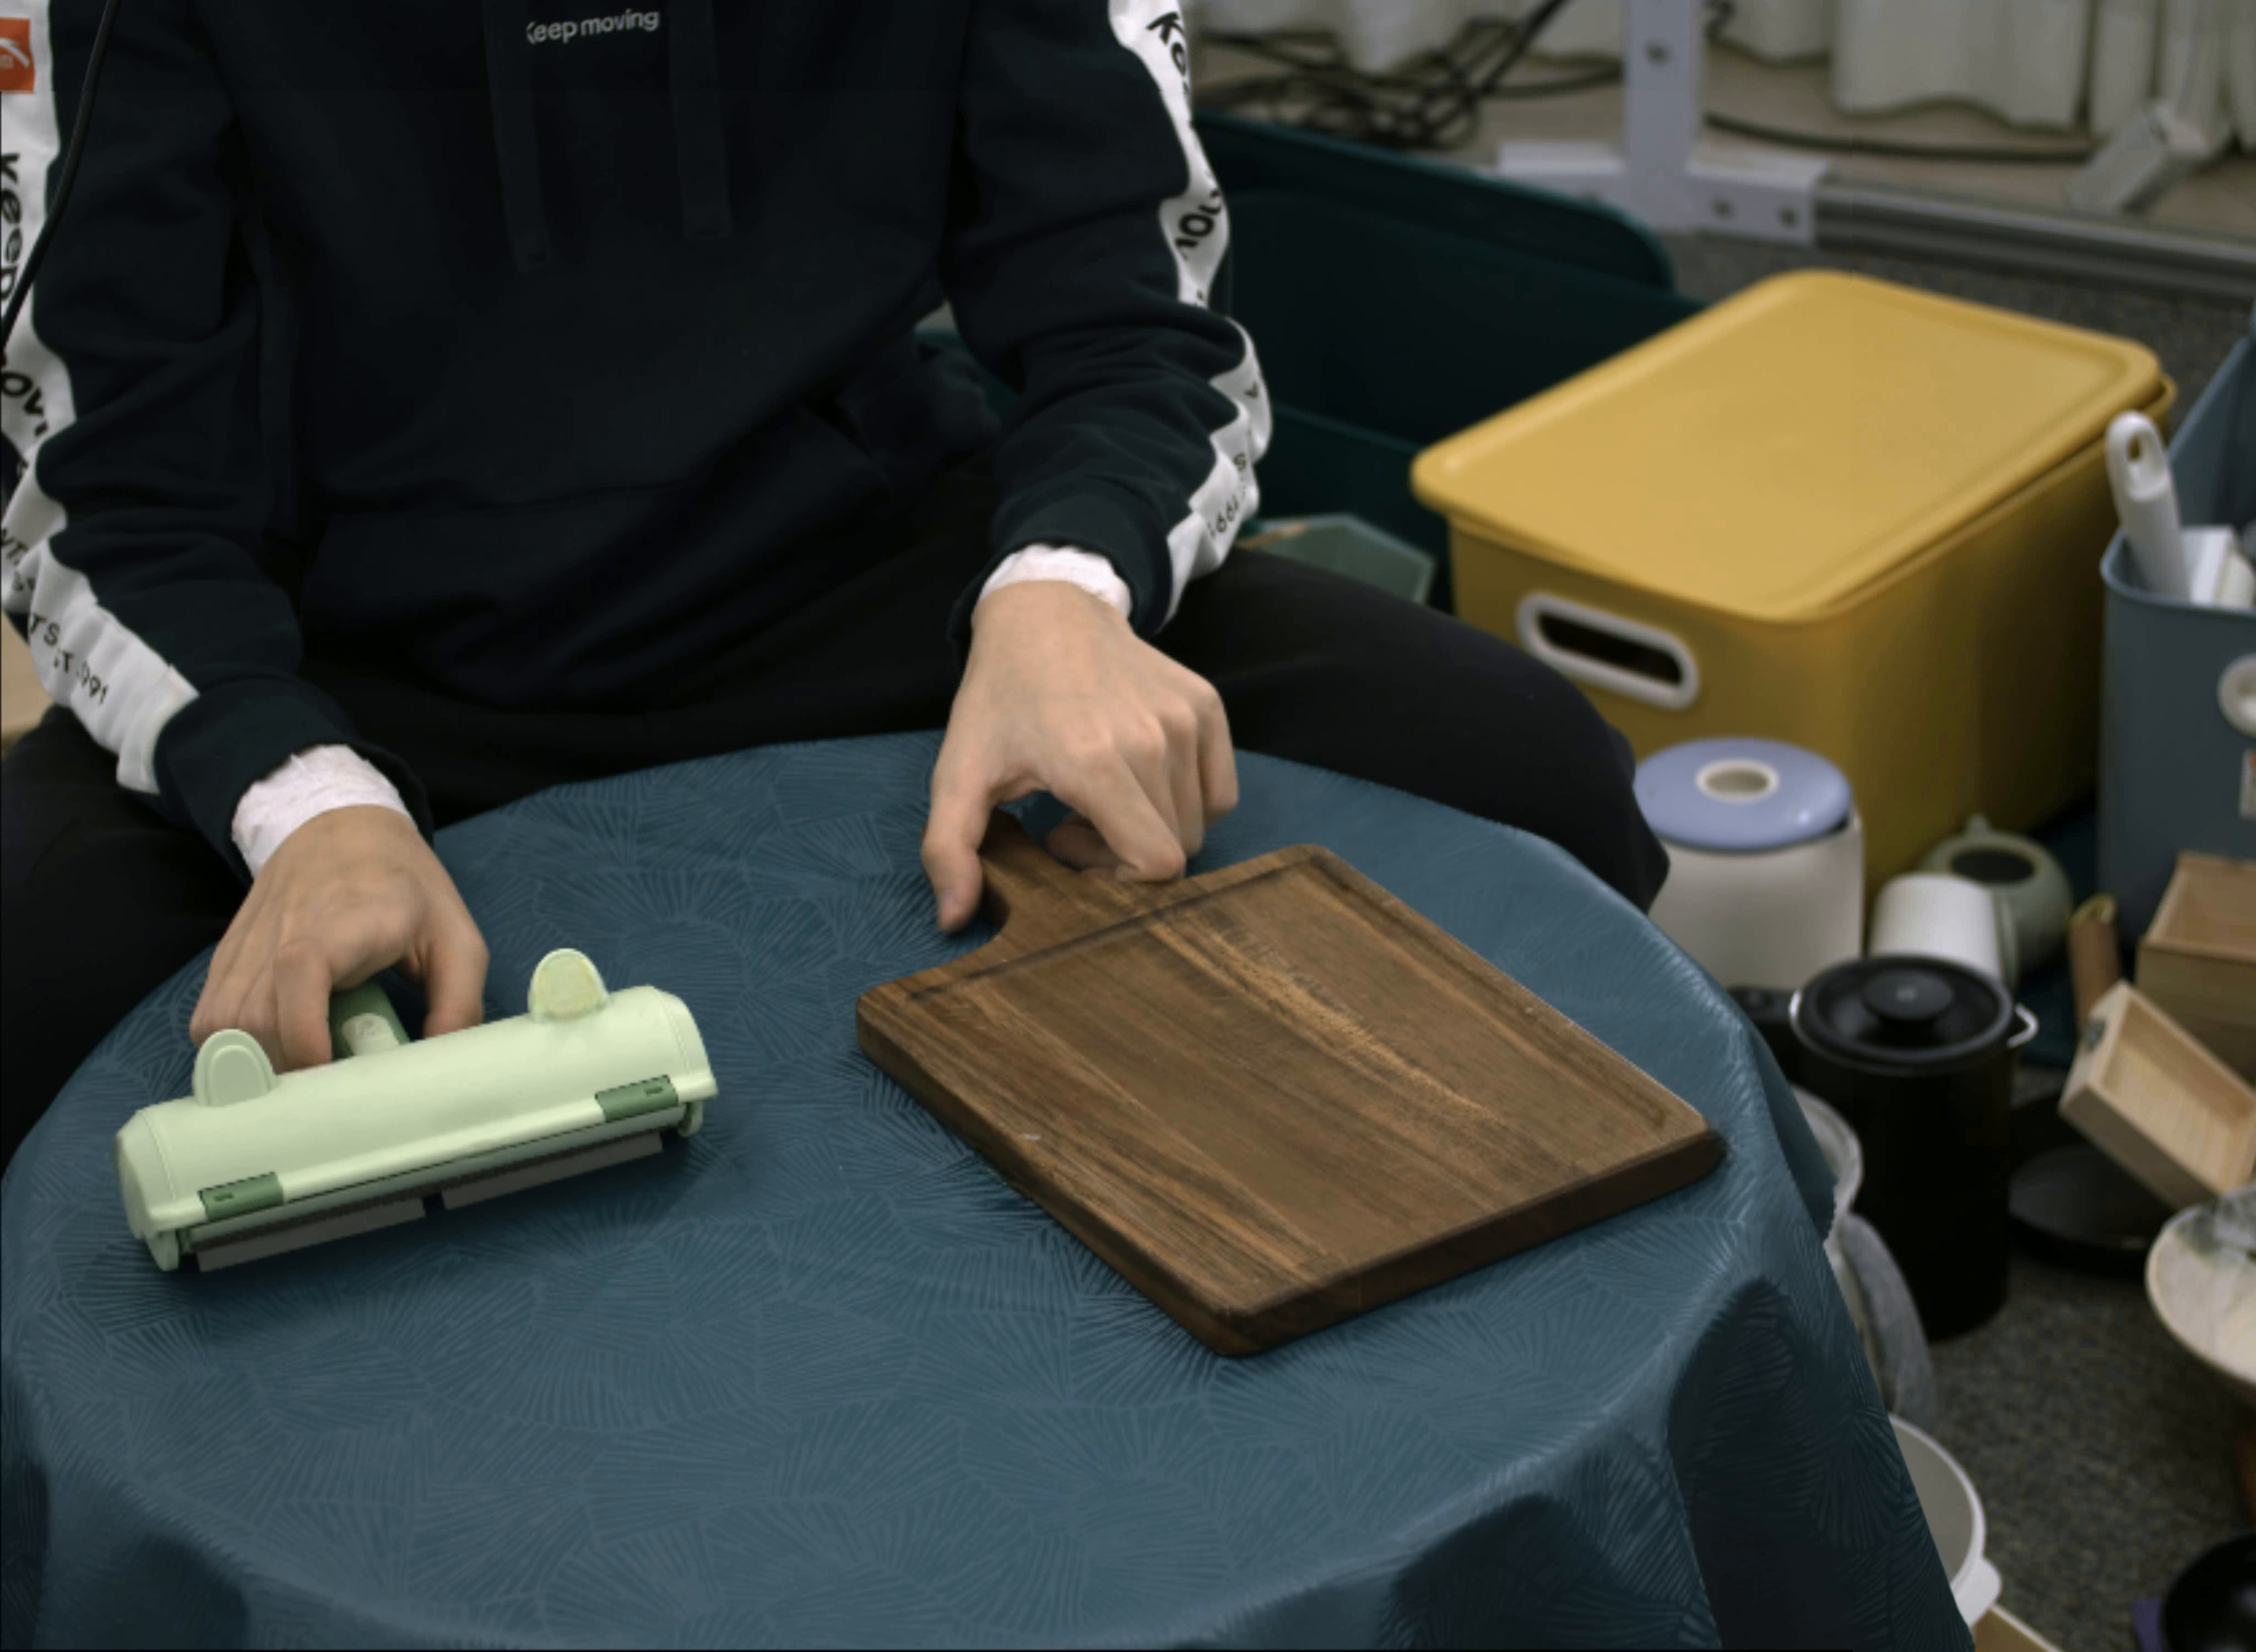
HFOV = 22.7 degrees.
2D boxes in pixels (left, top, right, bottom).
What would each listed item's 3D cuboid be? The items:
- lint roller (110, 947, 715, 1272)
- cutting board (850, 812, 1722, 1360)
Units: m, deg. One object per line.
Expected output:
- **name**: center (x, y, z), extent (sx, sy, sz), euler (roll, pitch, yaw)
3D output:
- **lint roller**: center (-0.259, 0.068, 1.906), extent (0.199, 0.081, 0.185), euler (-13, 33, -20)
- **cutting board**: center (0.024, 0.069, 1.937), extent (0.202, 0.023, 0.353), euler (-18, 31, -27)
